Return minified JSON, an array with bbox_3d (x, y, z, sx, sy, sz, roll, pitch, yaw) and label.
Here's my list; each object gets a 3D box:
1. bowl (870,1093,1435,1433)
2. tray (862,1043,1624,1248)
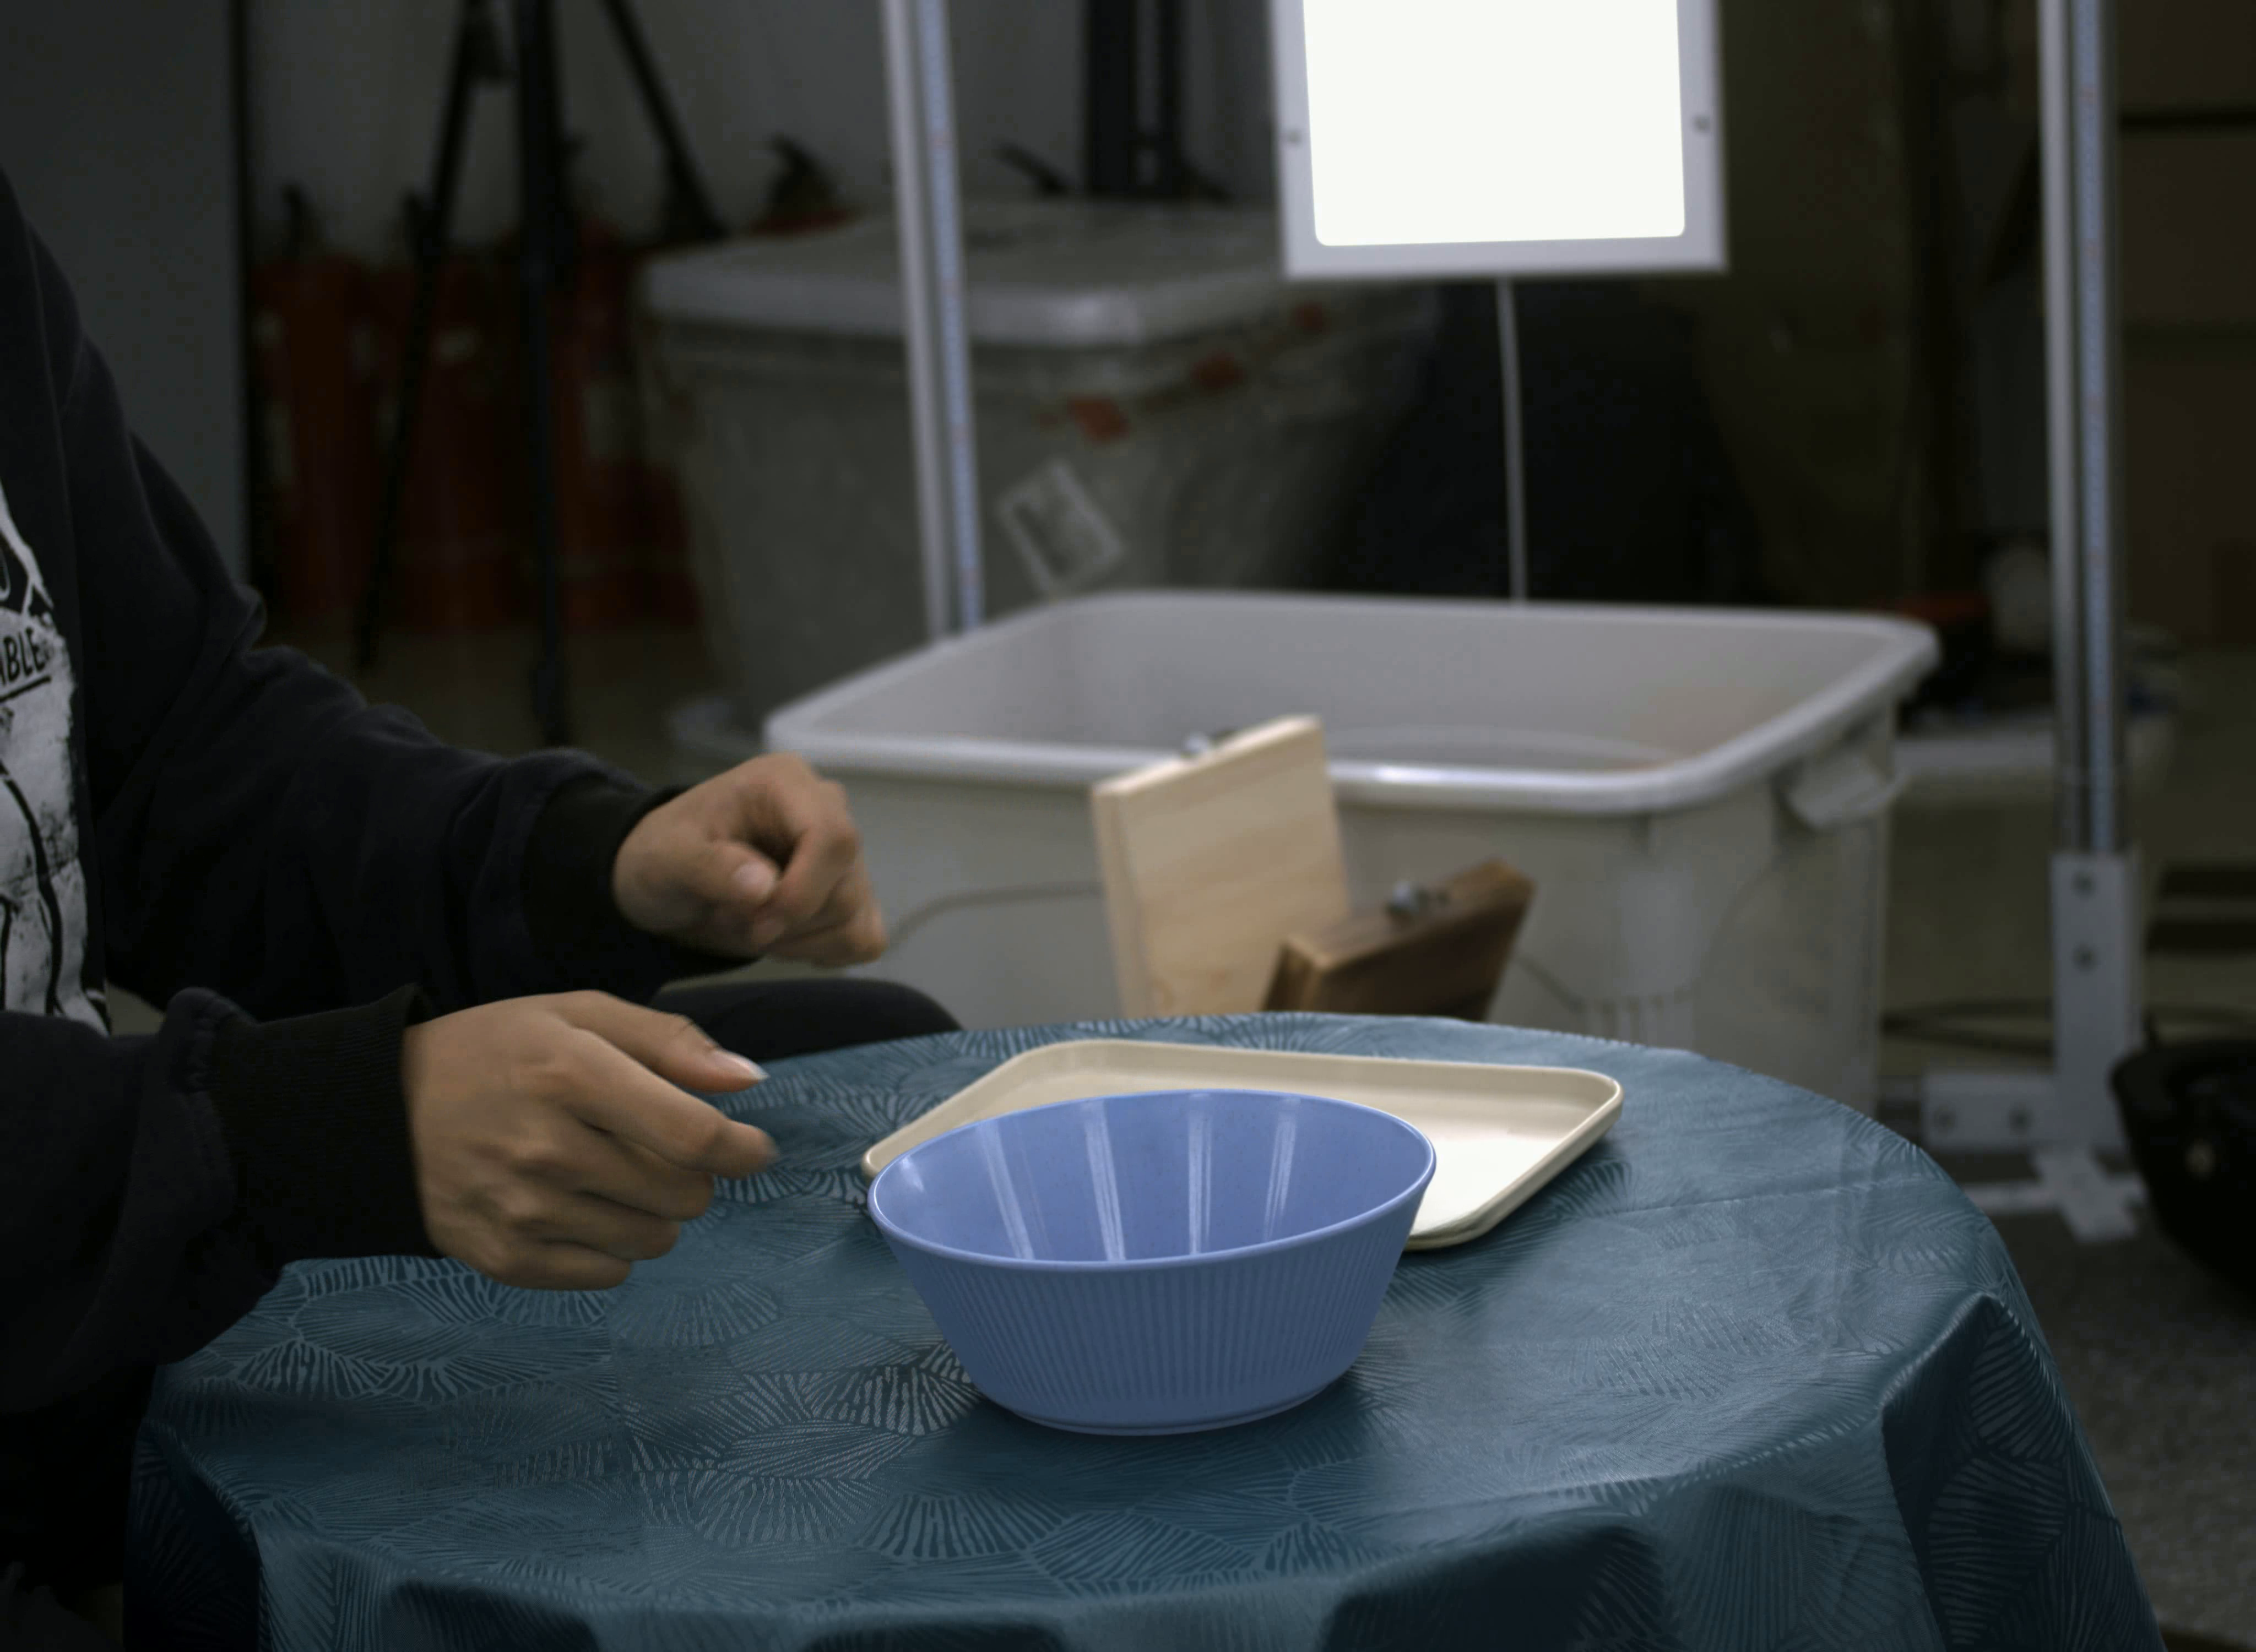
[{"bbox_3d":[0.010,0.137,1.700,0.175,0.070,0.176,-5,13,0],"label":"bowl"},{"bbox_3d":[0.041,0.111,1.911,0.244,0.017,0.167,2,15,28],"label":"tray"}]
